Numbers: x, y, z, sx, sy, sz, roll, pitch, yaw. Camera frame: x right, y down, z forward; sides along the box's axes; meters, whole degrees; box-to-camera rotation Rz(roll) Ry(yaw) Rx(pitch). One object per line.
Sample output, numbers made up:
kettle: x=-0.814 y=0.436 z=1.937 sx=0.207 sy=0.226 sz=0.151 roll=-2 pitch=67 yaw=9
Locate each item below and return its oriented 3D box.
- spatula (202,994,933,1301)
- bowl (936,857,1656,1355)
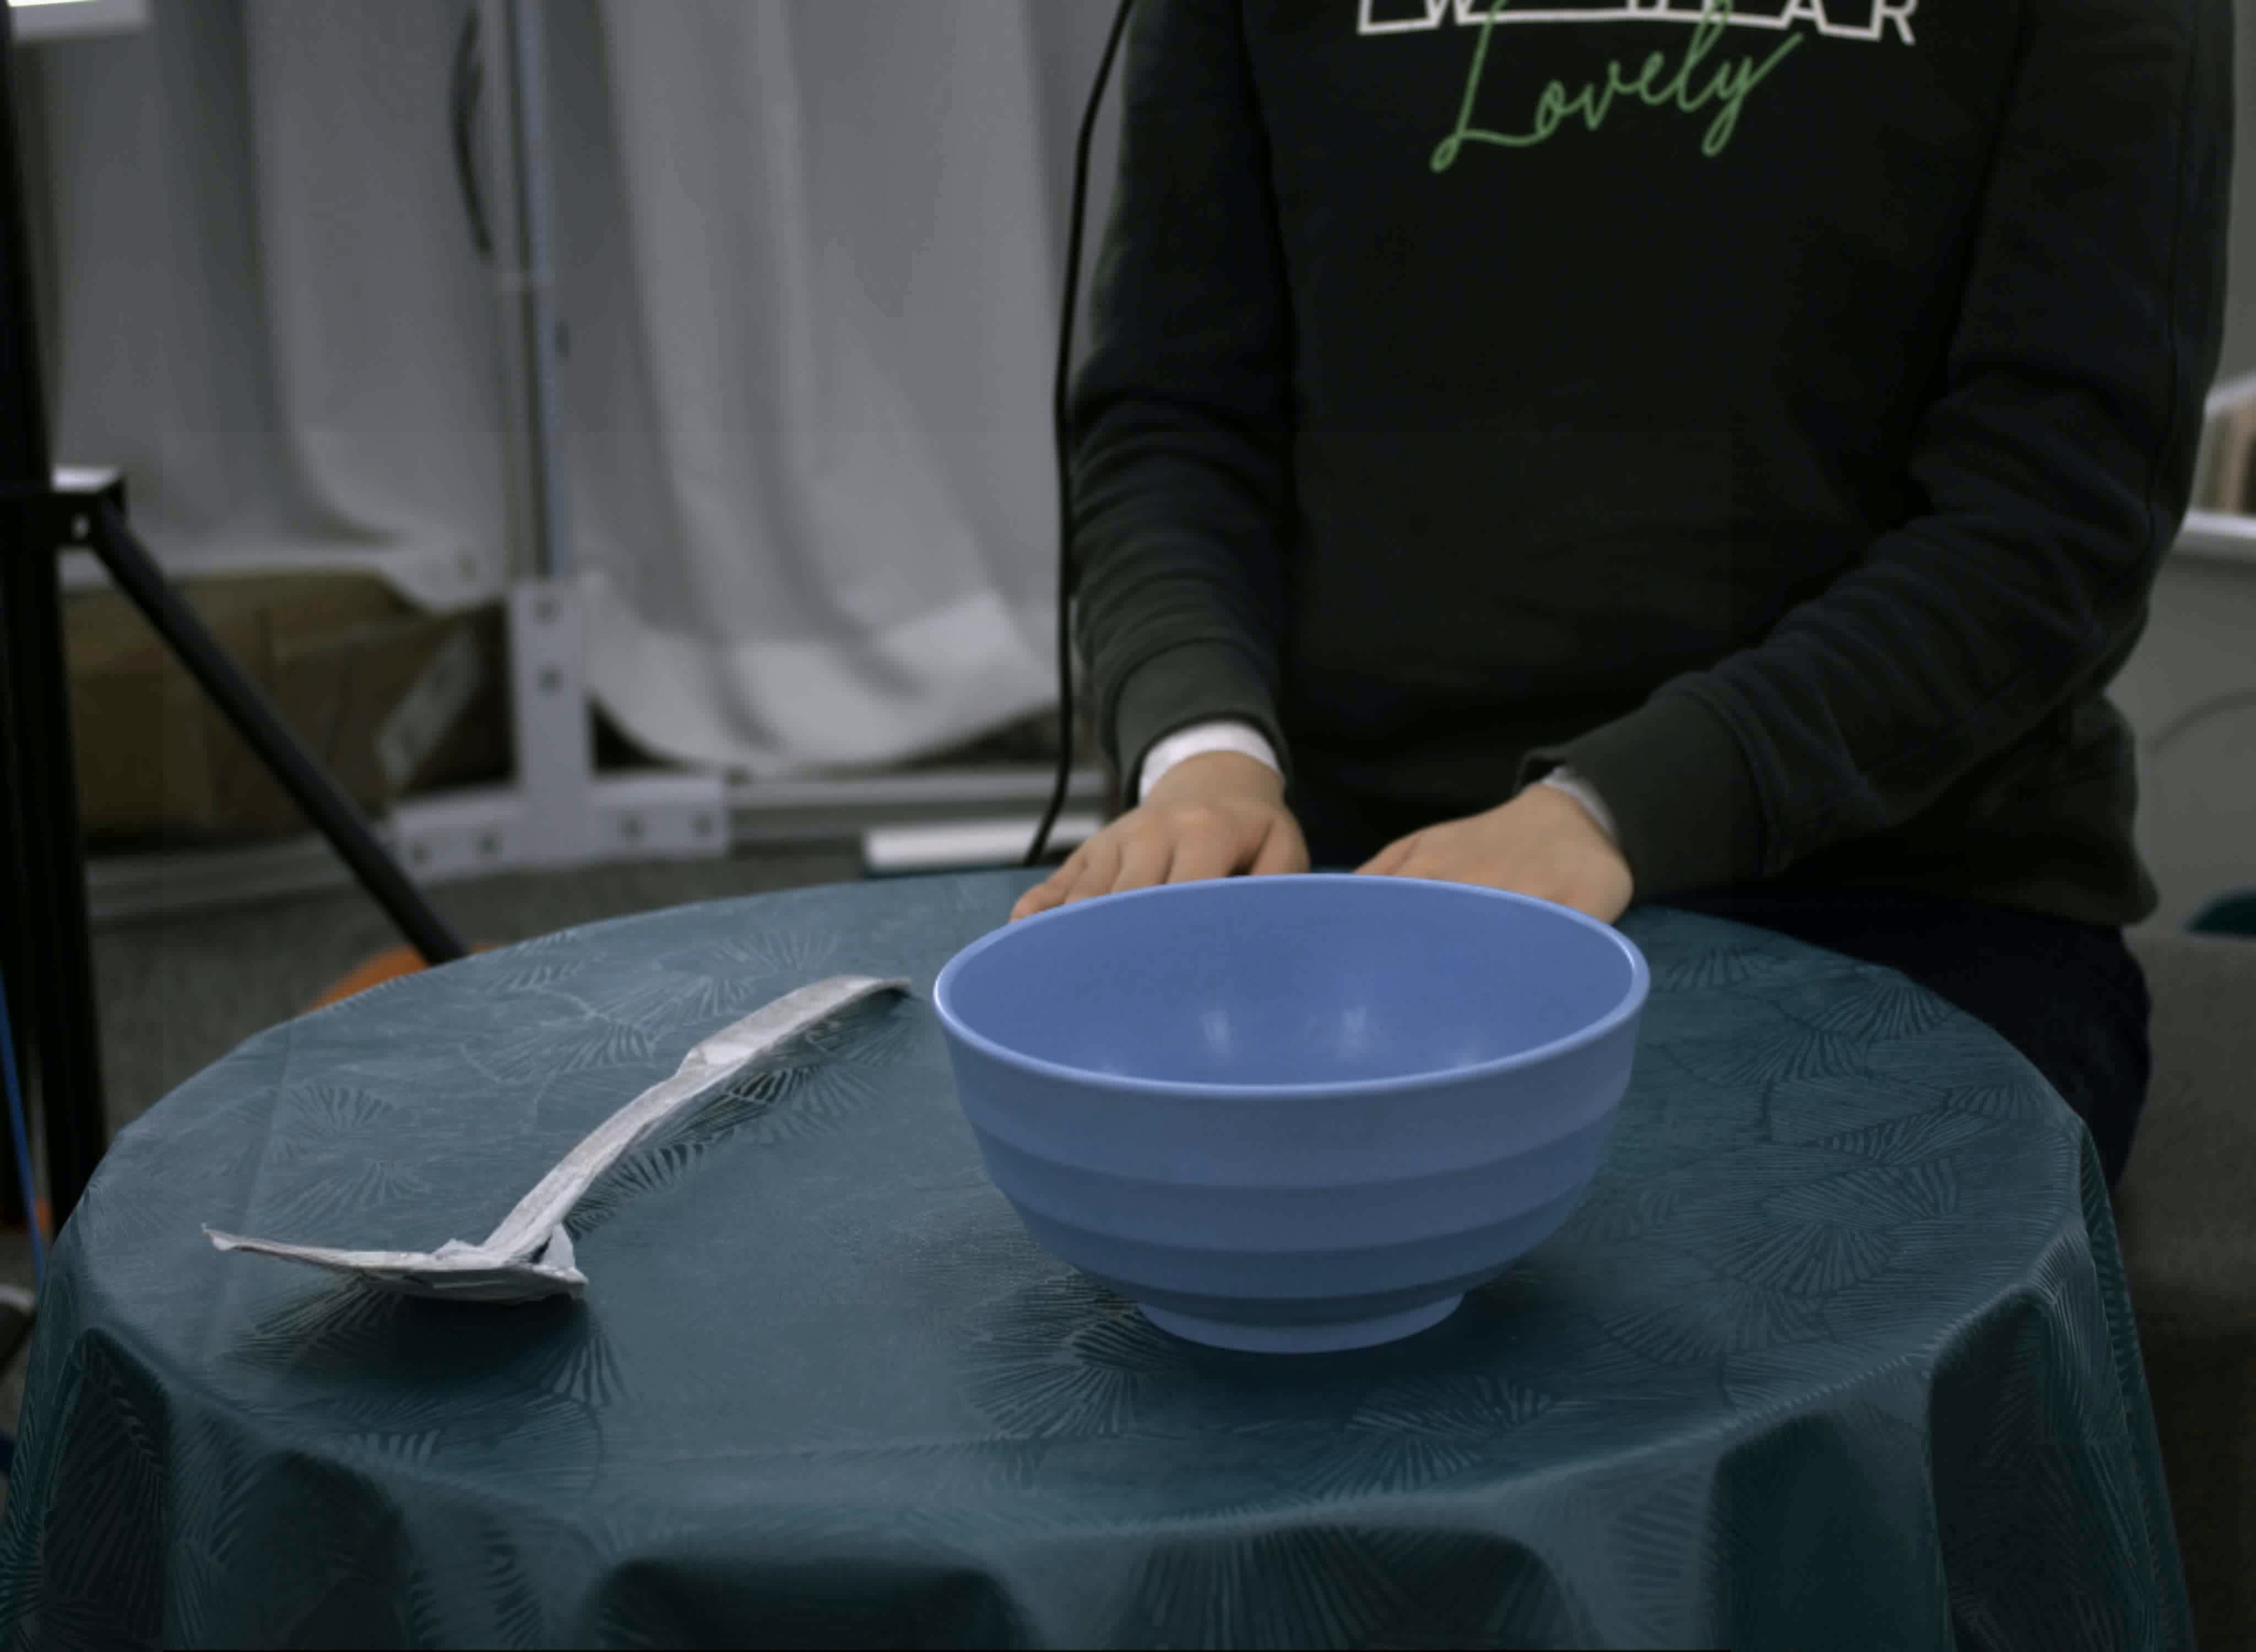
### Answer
spatula: x=-0.145 y=0.086 z=1.590 sx=0.100 sy=0.045 sz=0.360 roll=2 pitch=17 yaw=23
bowl: x=0.047 y=0.084 z=1.457 sx=0.195 sy=0.095 sz=0.197 roll=-3 pitch=18 yaw=0
